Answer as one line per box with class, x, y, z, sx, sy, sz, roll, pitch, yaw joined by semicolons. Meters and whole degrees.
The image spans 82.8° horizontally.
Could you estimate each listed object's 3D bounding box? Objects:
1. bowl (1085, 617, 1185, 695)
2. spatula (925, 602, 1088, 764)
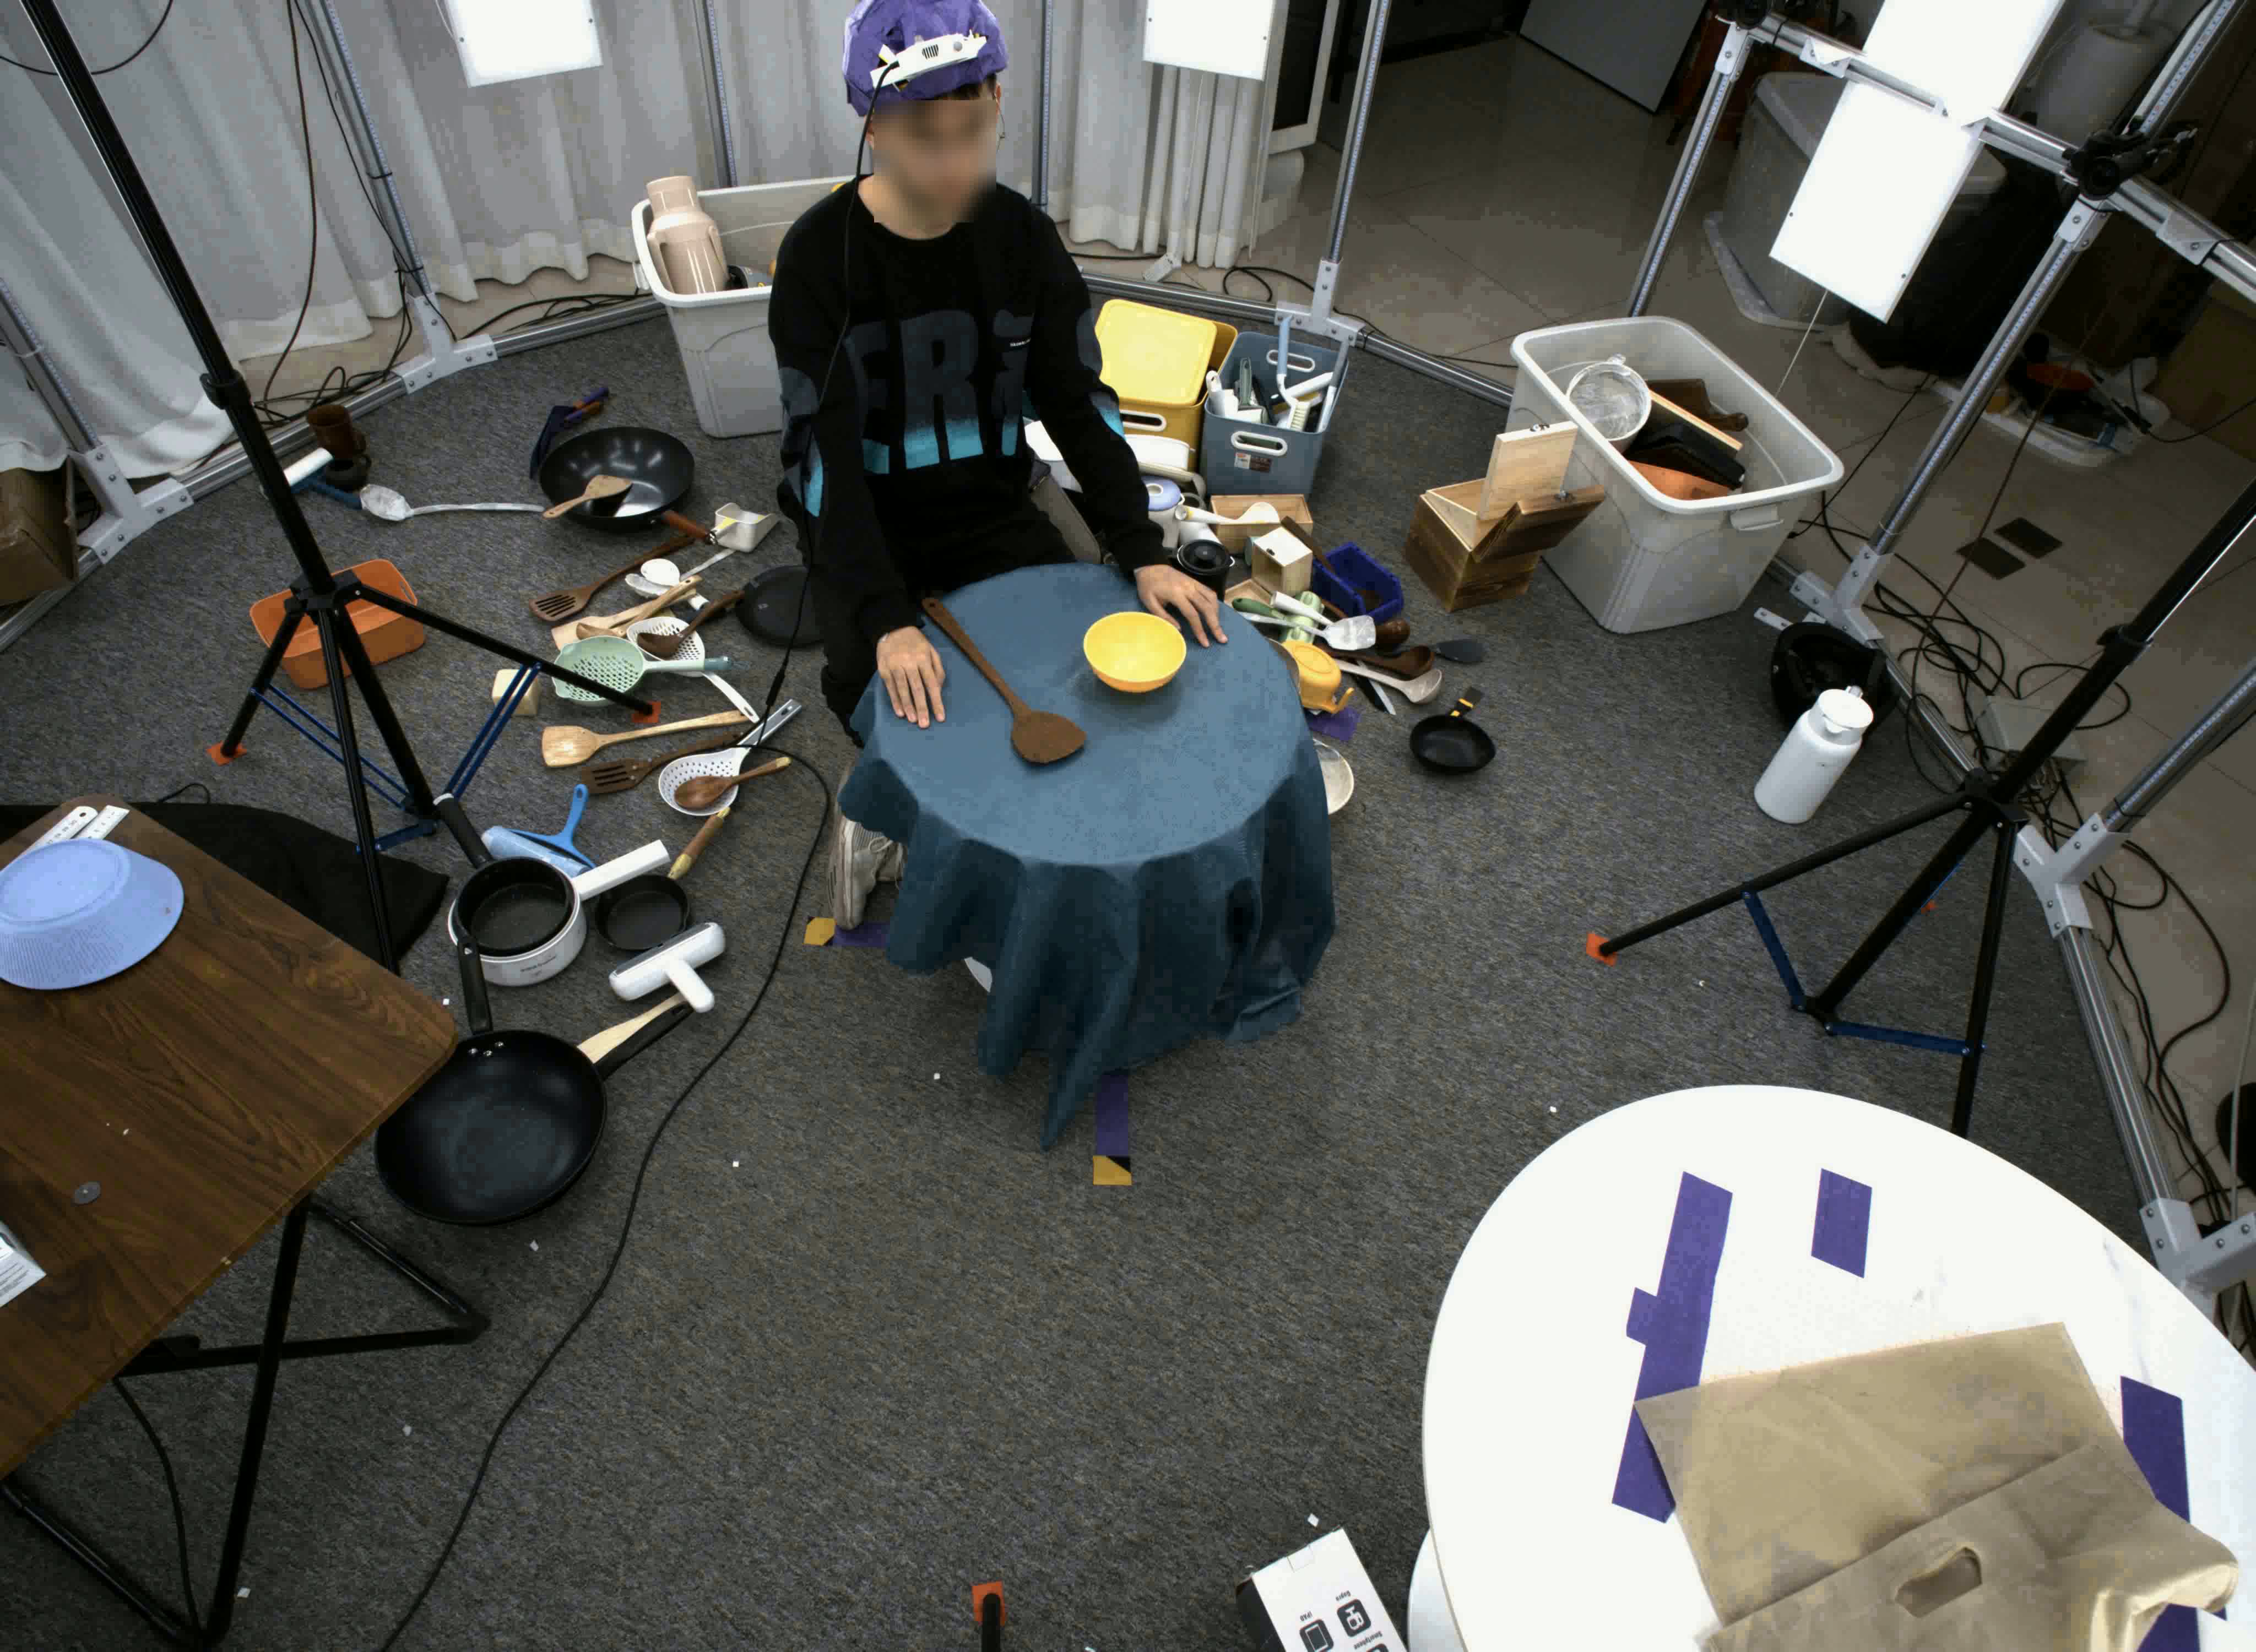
bowl;0.008;-0.234;1.853;0.145;0.058;0.149;3;47;-3
spatula;-0.194;-0.216;1.852;0.096;0.015;0.393;-25;54;-24
